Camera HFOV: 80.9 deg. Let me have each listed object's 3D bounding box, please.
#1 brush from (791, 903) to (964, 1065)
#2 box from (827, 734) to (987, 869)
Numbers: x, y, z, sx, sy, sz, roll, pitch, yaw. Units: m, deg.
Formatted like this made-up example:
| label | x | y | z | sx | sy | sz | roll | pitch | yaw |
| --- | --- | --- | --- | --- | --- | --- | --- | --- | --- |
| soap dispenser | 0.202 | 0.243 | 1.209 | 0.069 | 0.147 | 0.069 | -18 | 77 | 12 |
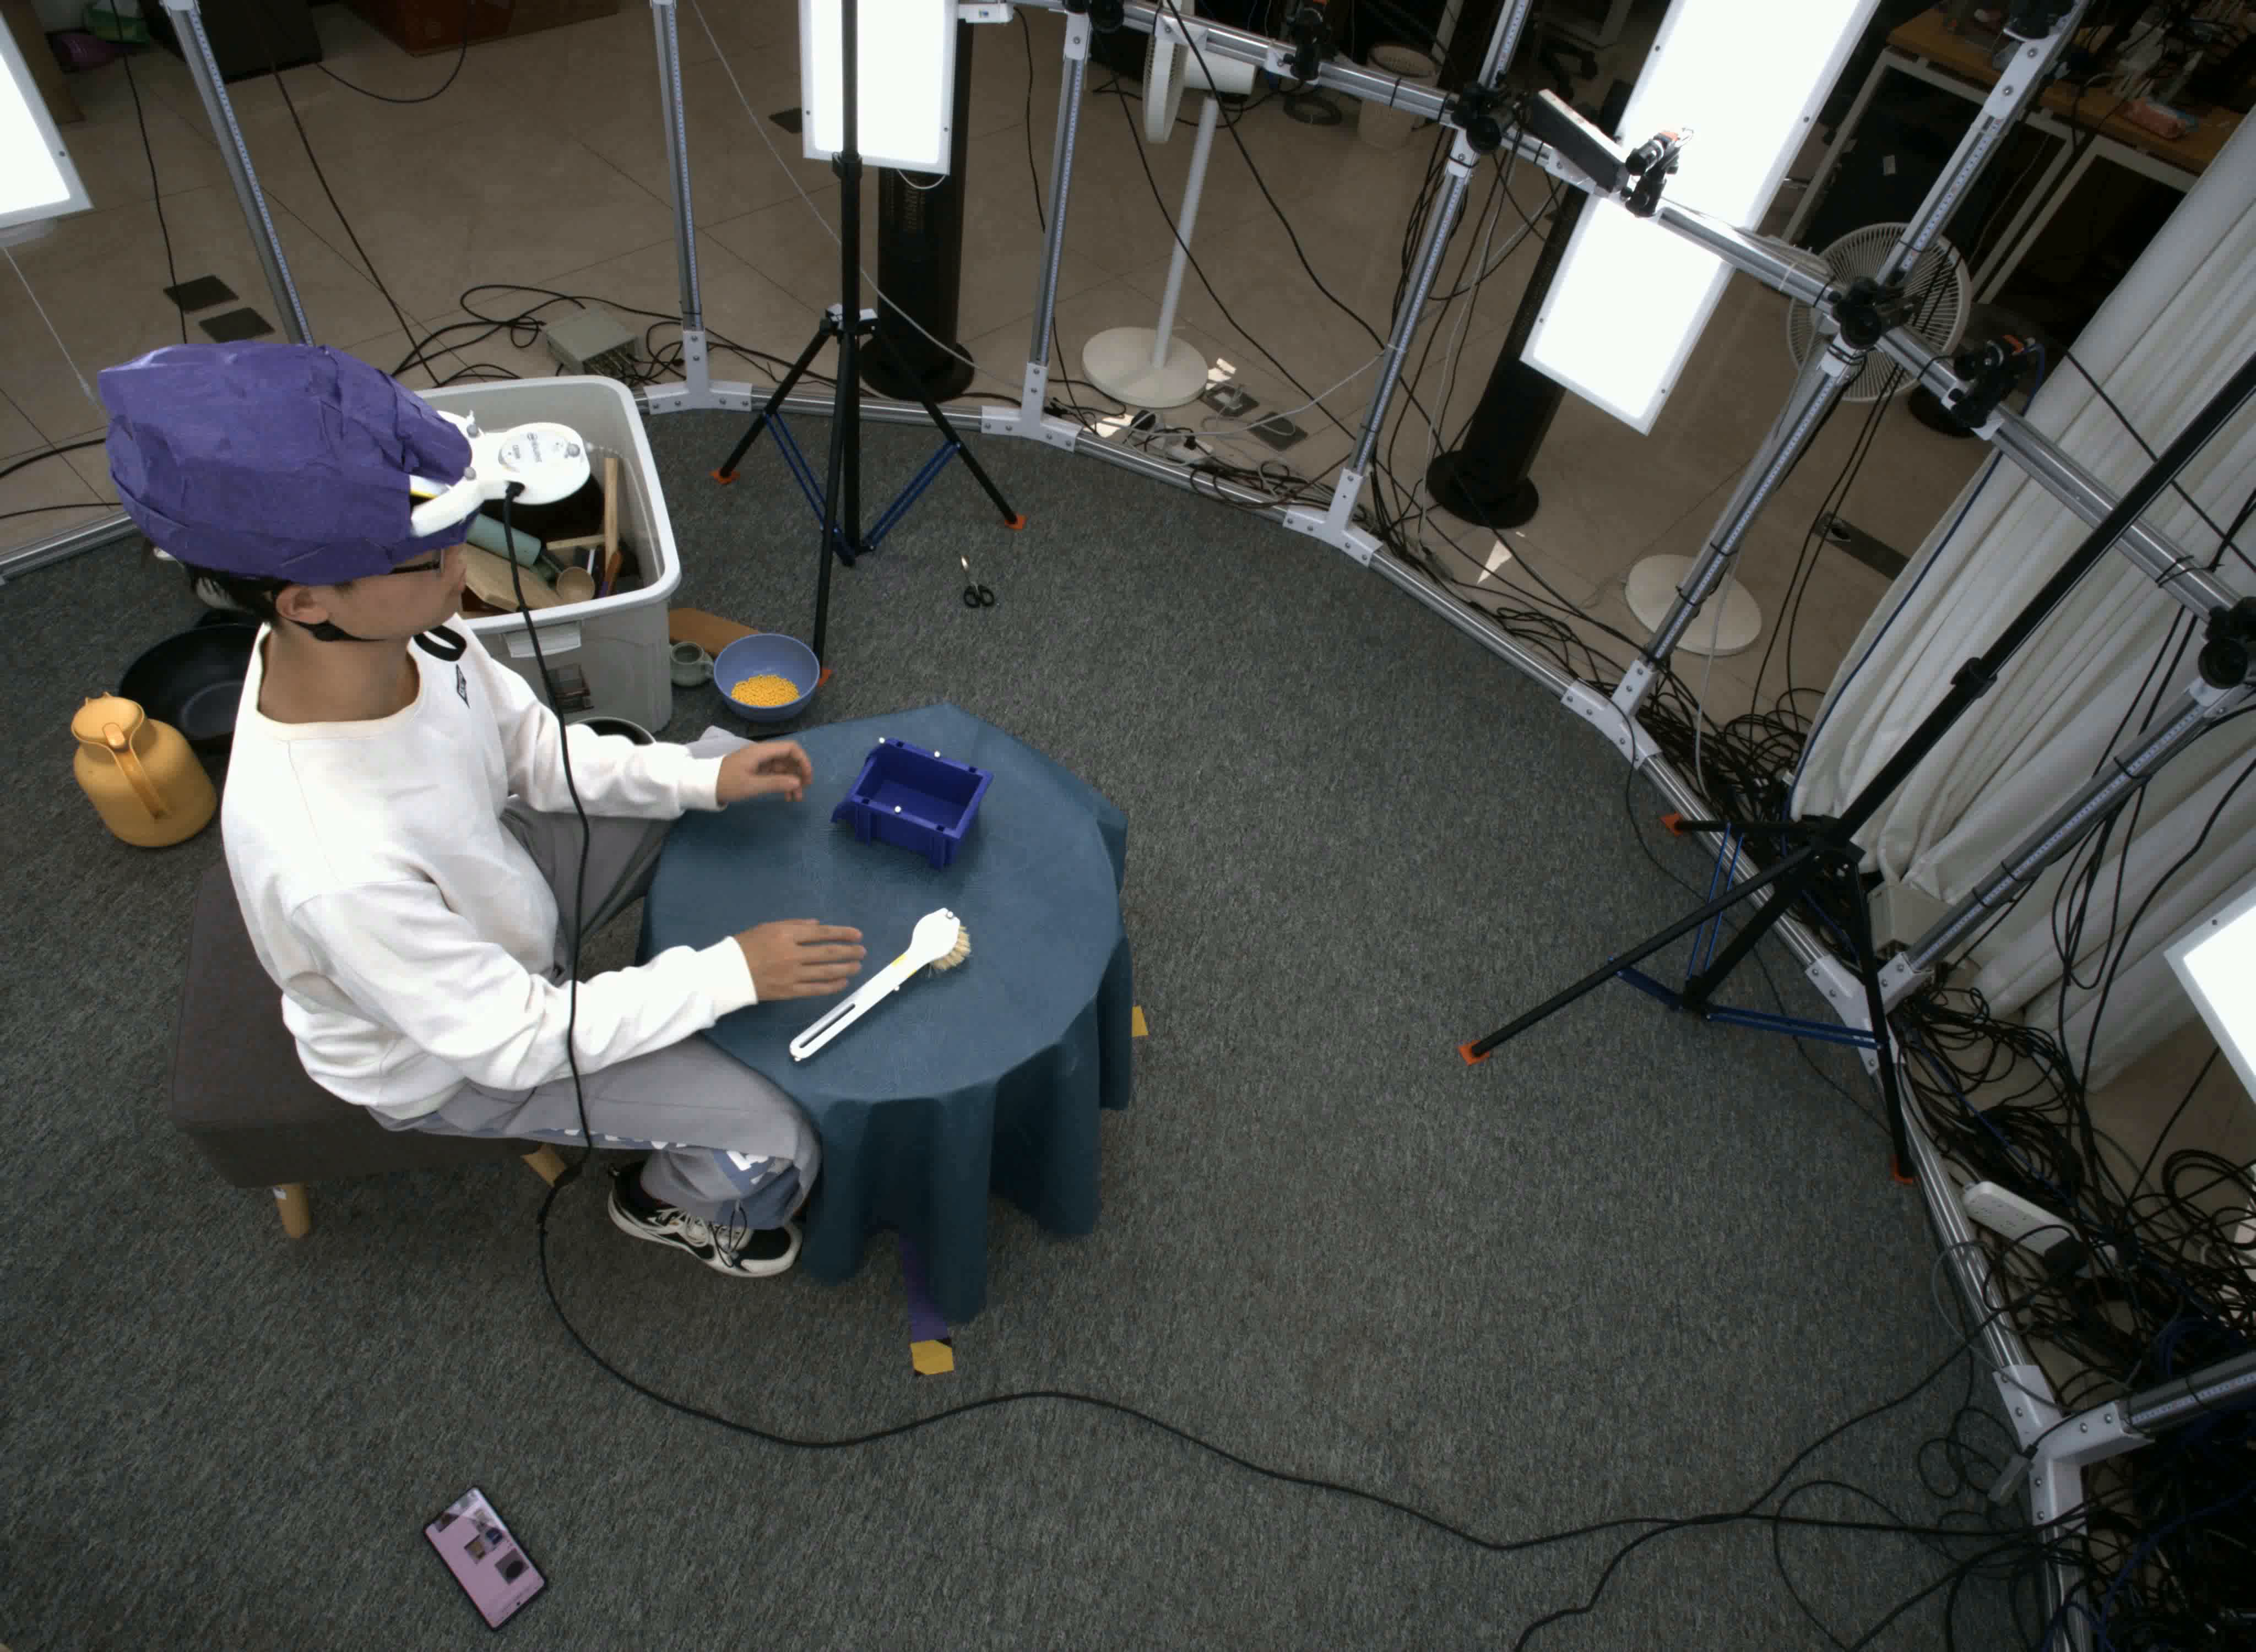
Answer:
| label | x | y | z | sx | sy | sz | roll | pitch | yaw |
| --- | --- | --- | --- | --- | --- | --- | --- | --- | --- |
| brush | -0.307 | 0.201 | 1.602 | 0.066 | 0.058 | 0.266 | 31 | 67 | 30 |
| box | -0.297 | -0.035 | 1.739 | 0.177 | 0.083 | 0.123 | 21 | 52 | 1 |
